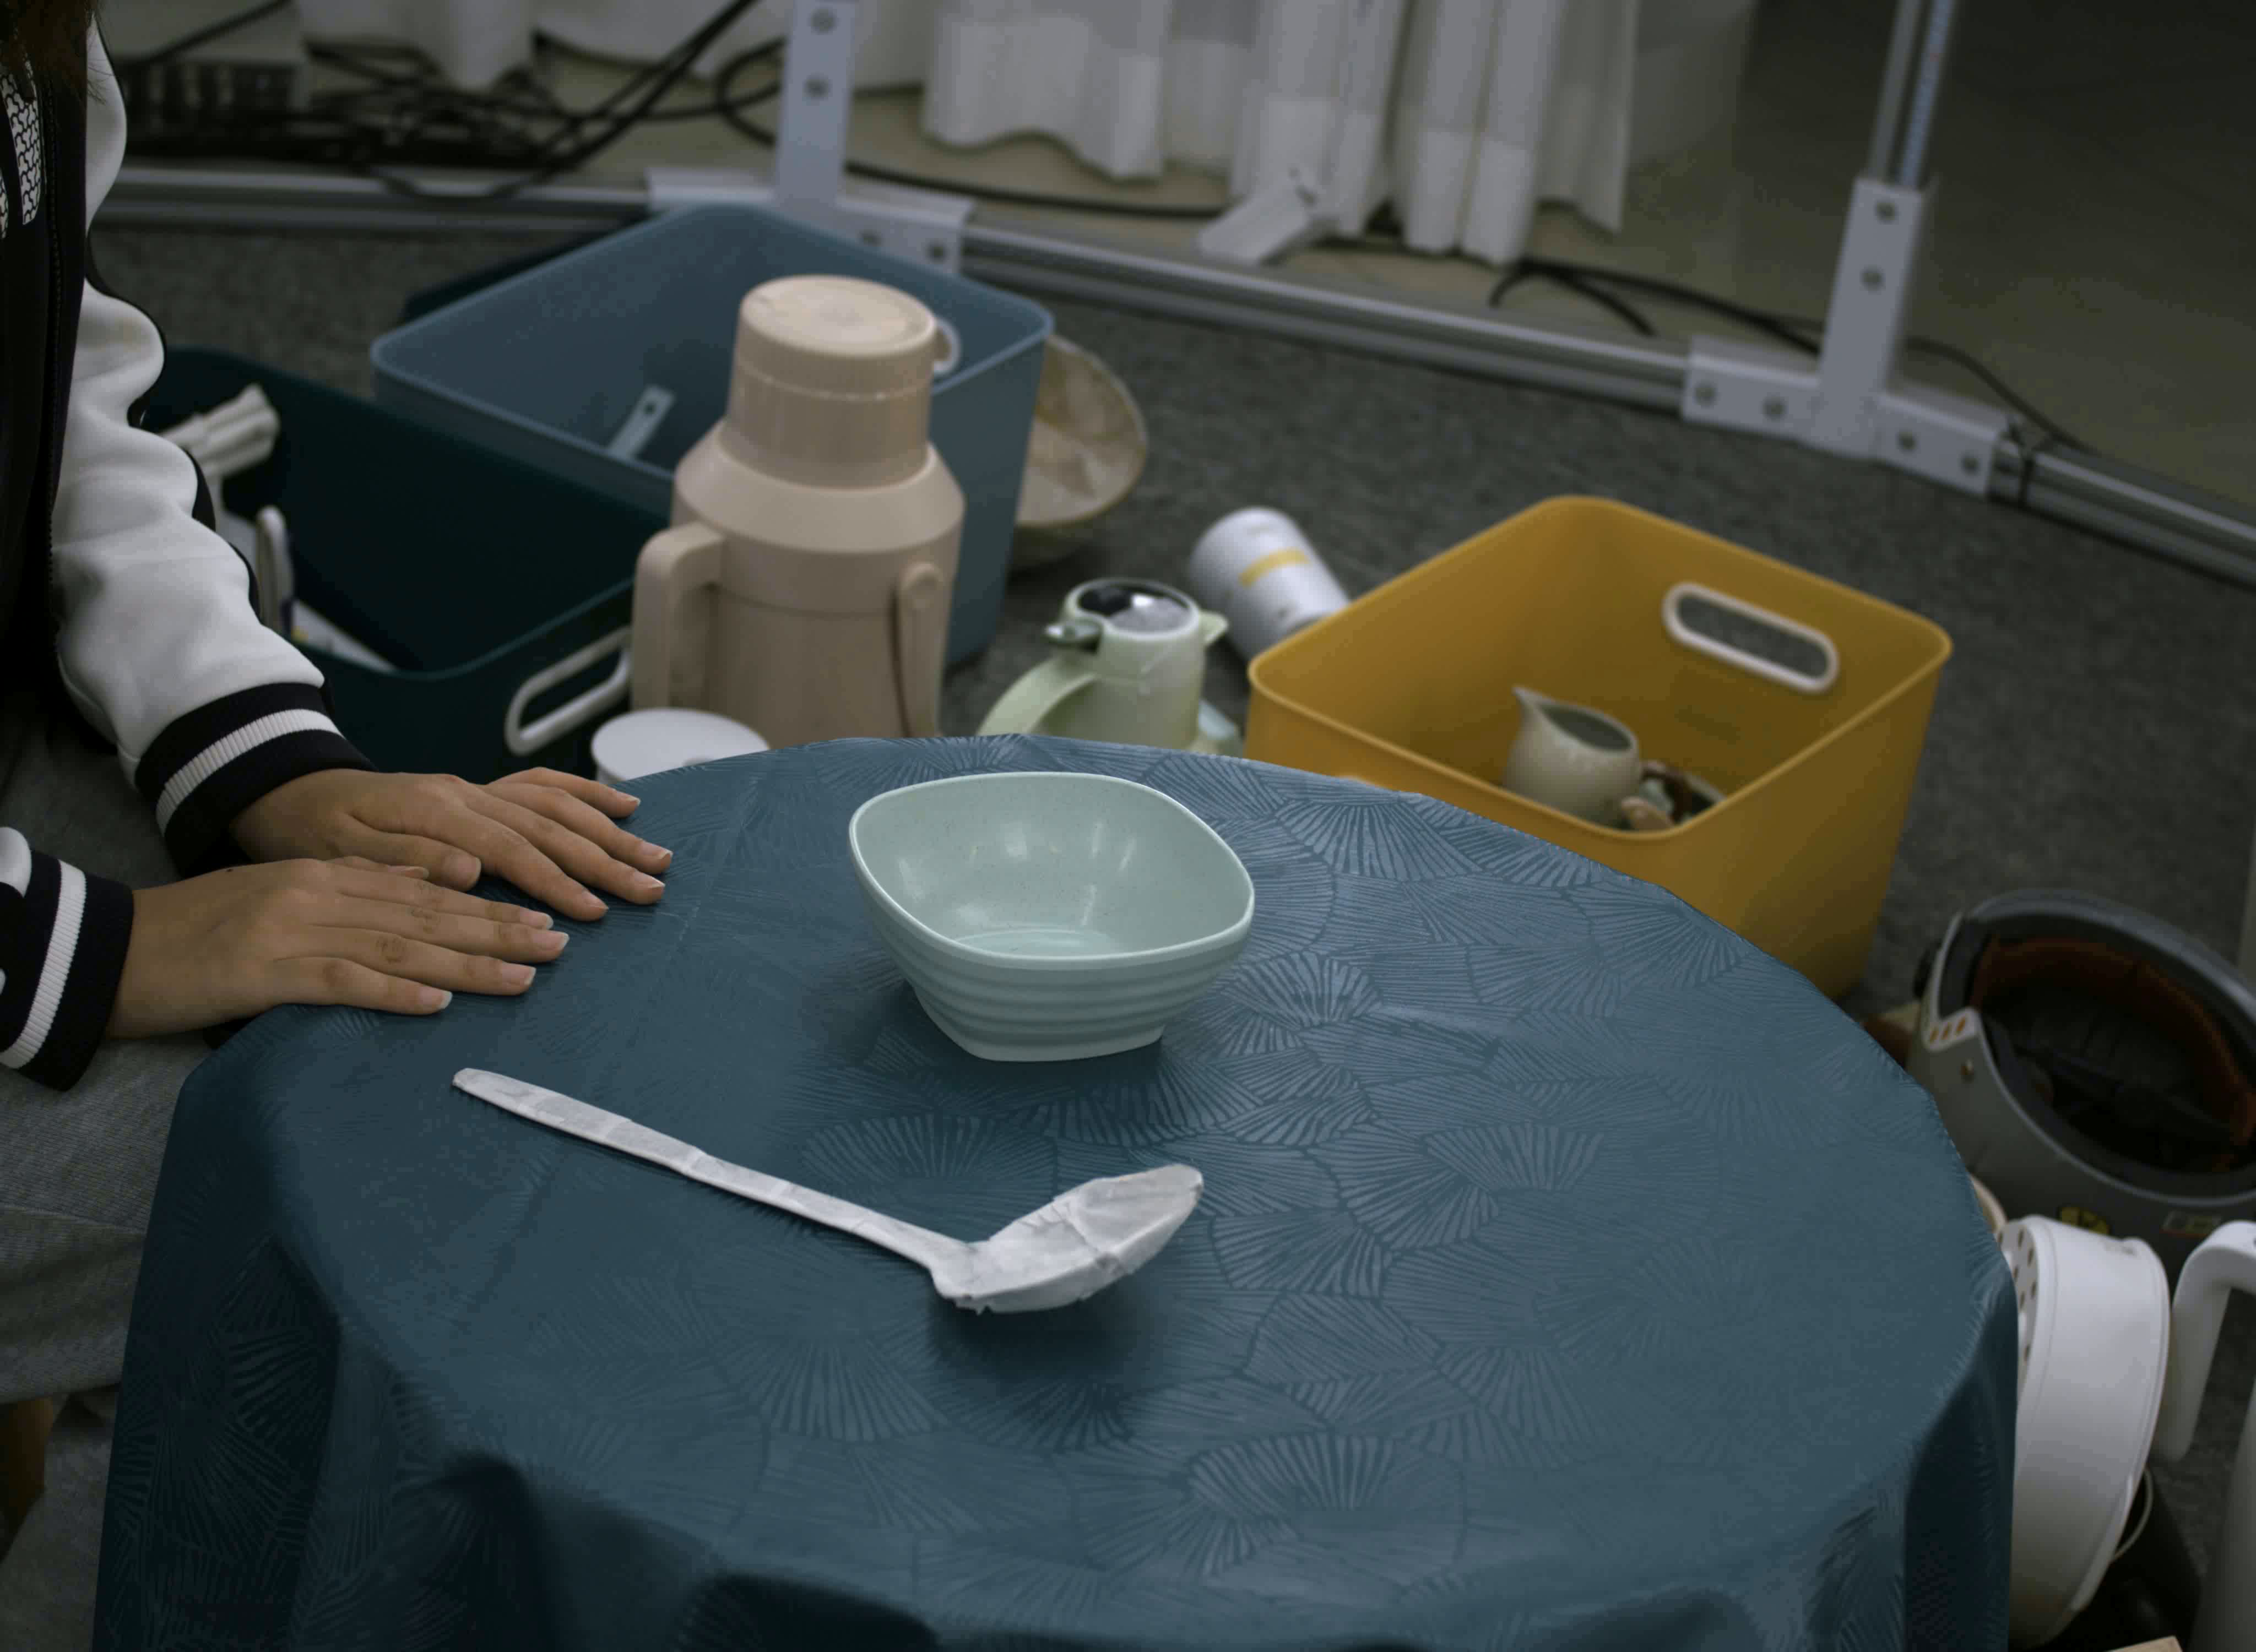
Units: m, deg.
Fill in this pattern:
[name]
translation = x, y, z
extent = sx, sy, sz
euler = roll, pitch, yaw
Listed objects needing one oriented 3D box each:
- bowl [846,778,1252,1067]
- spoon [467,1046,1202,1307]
[bowl]
translation = -0.031, 0.040, 1.901
extent = 0.151, 0.058, 0.152
euler = 5, 27, -3
[spoon]
translation = -0.102, 0.099, 1.765
extent = 0.279, 0.059, 0.100
euler = 21, 25, 26
